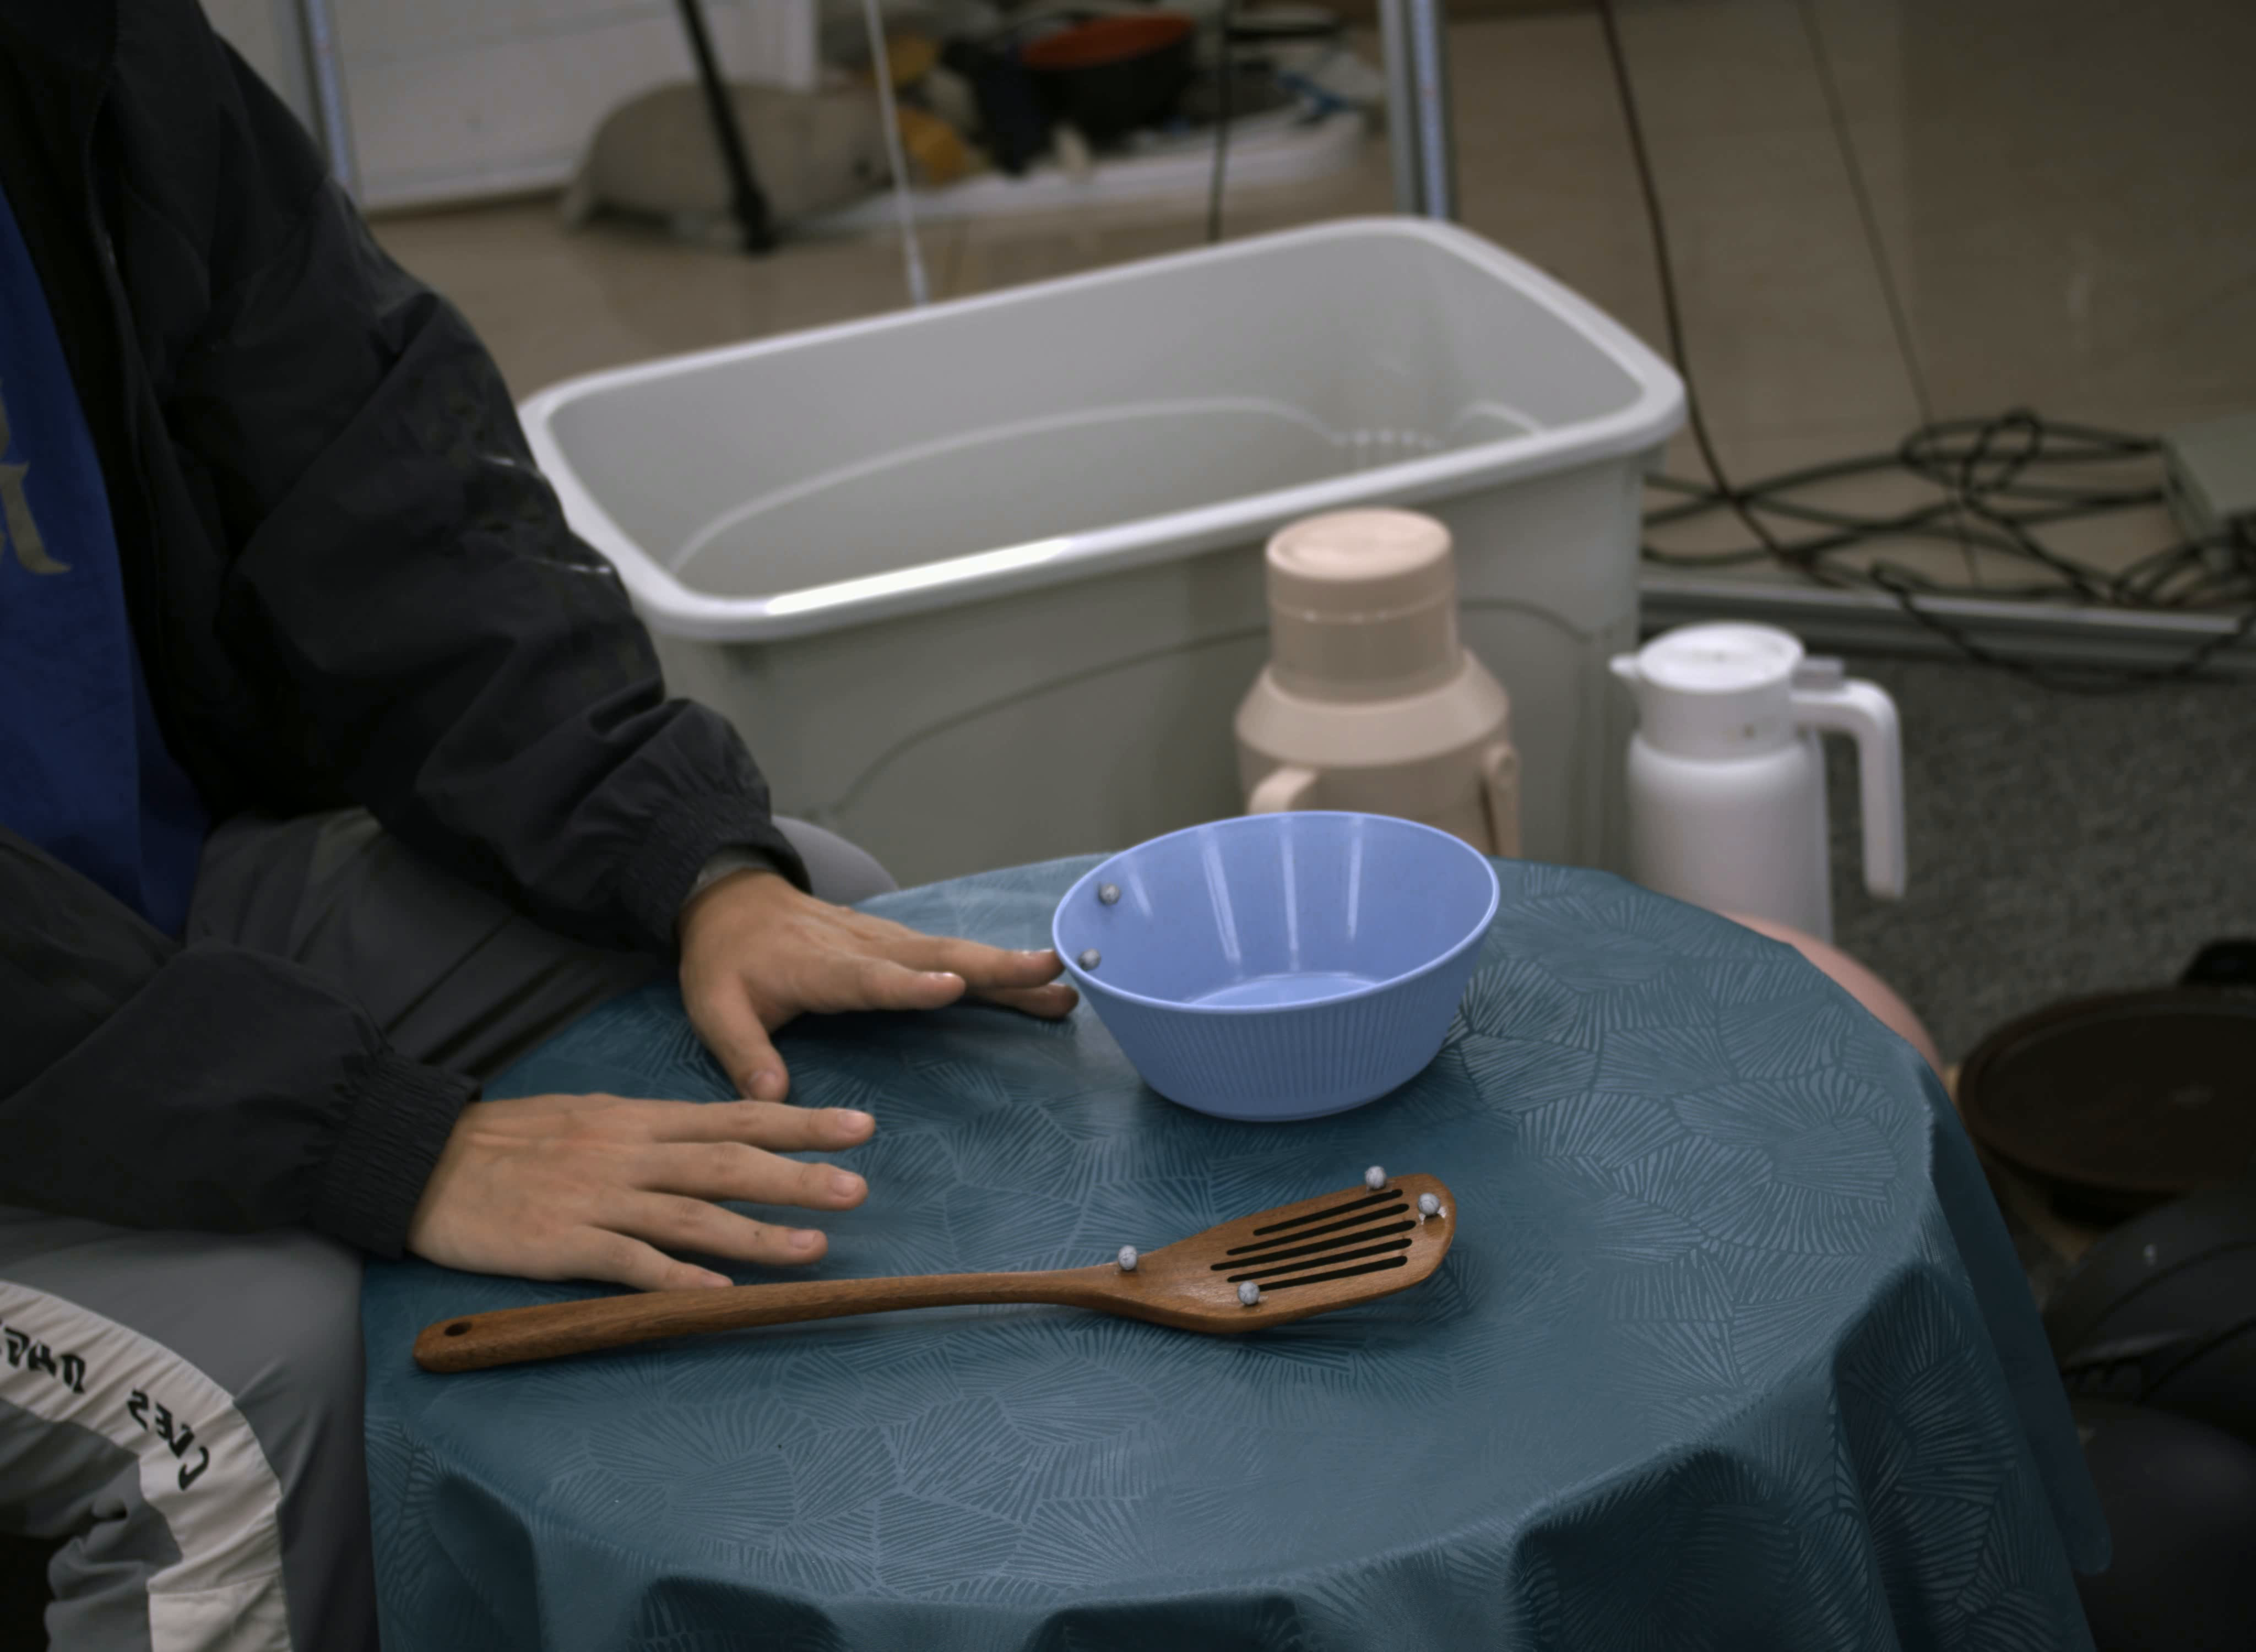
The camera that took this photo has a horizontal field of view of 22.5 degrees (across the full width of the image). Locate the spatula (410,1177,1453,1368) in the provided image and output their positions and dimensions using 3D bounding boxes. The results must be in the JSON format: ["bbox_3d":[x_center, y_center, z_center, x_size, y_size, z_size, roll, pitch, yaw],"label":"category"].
[{"bbox_3d":[-0.073,0.172,2.071,0.386,0.024,0.084,-6,24,5],"label":"spatula"}]

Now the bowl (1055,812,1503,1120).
[{"bbox_3d":[0.062,0.060,2.216,0.176,0.071,0.173,-6,24,3],"label":"bowl"}]
